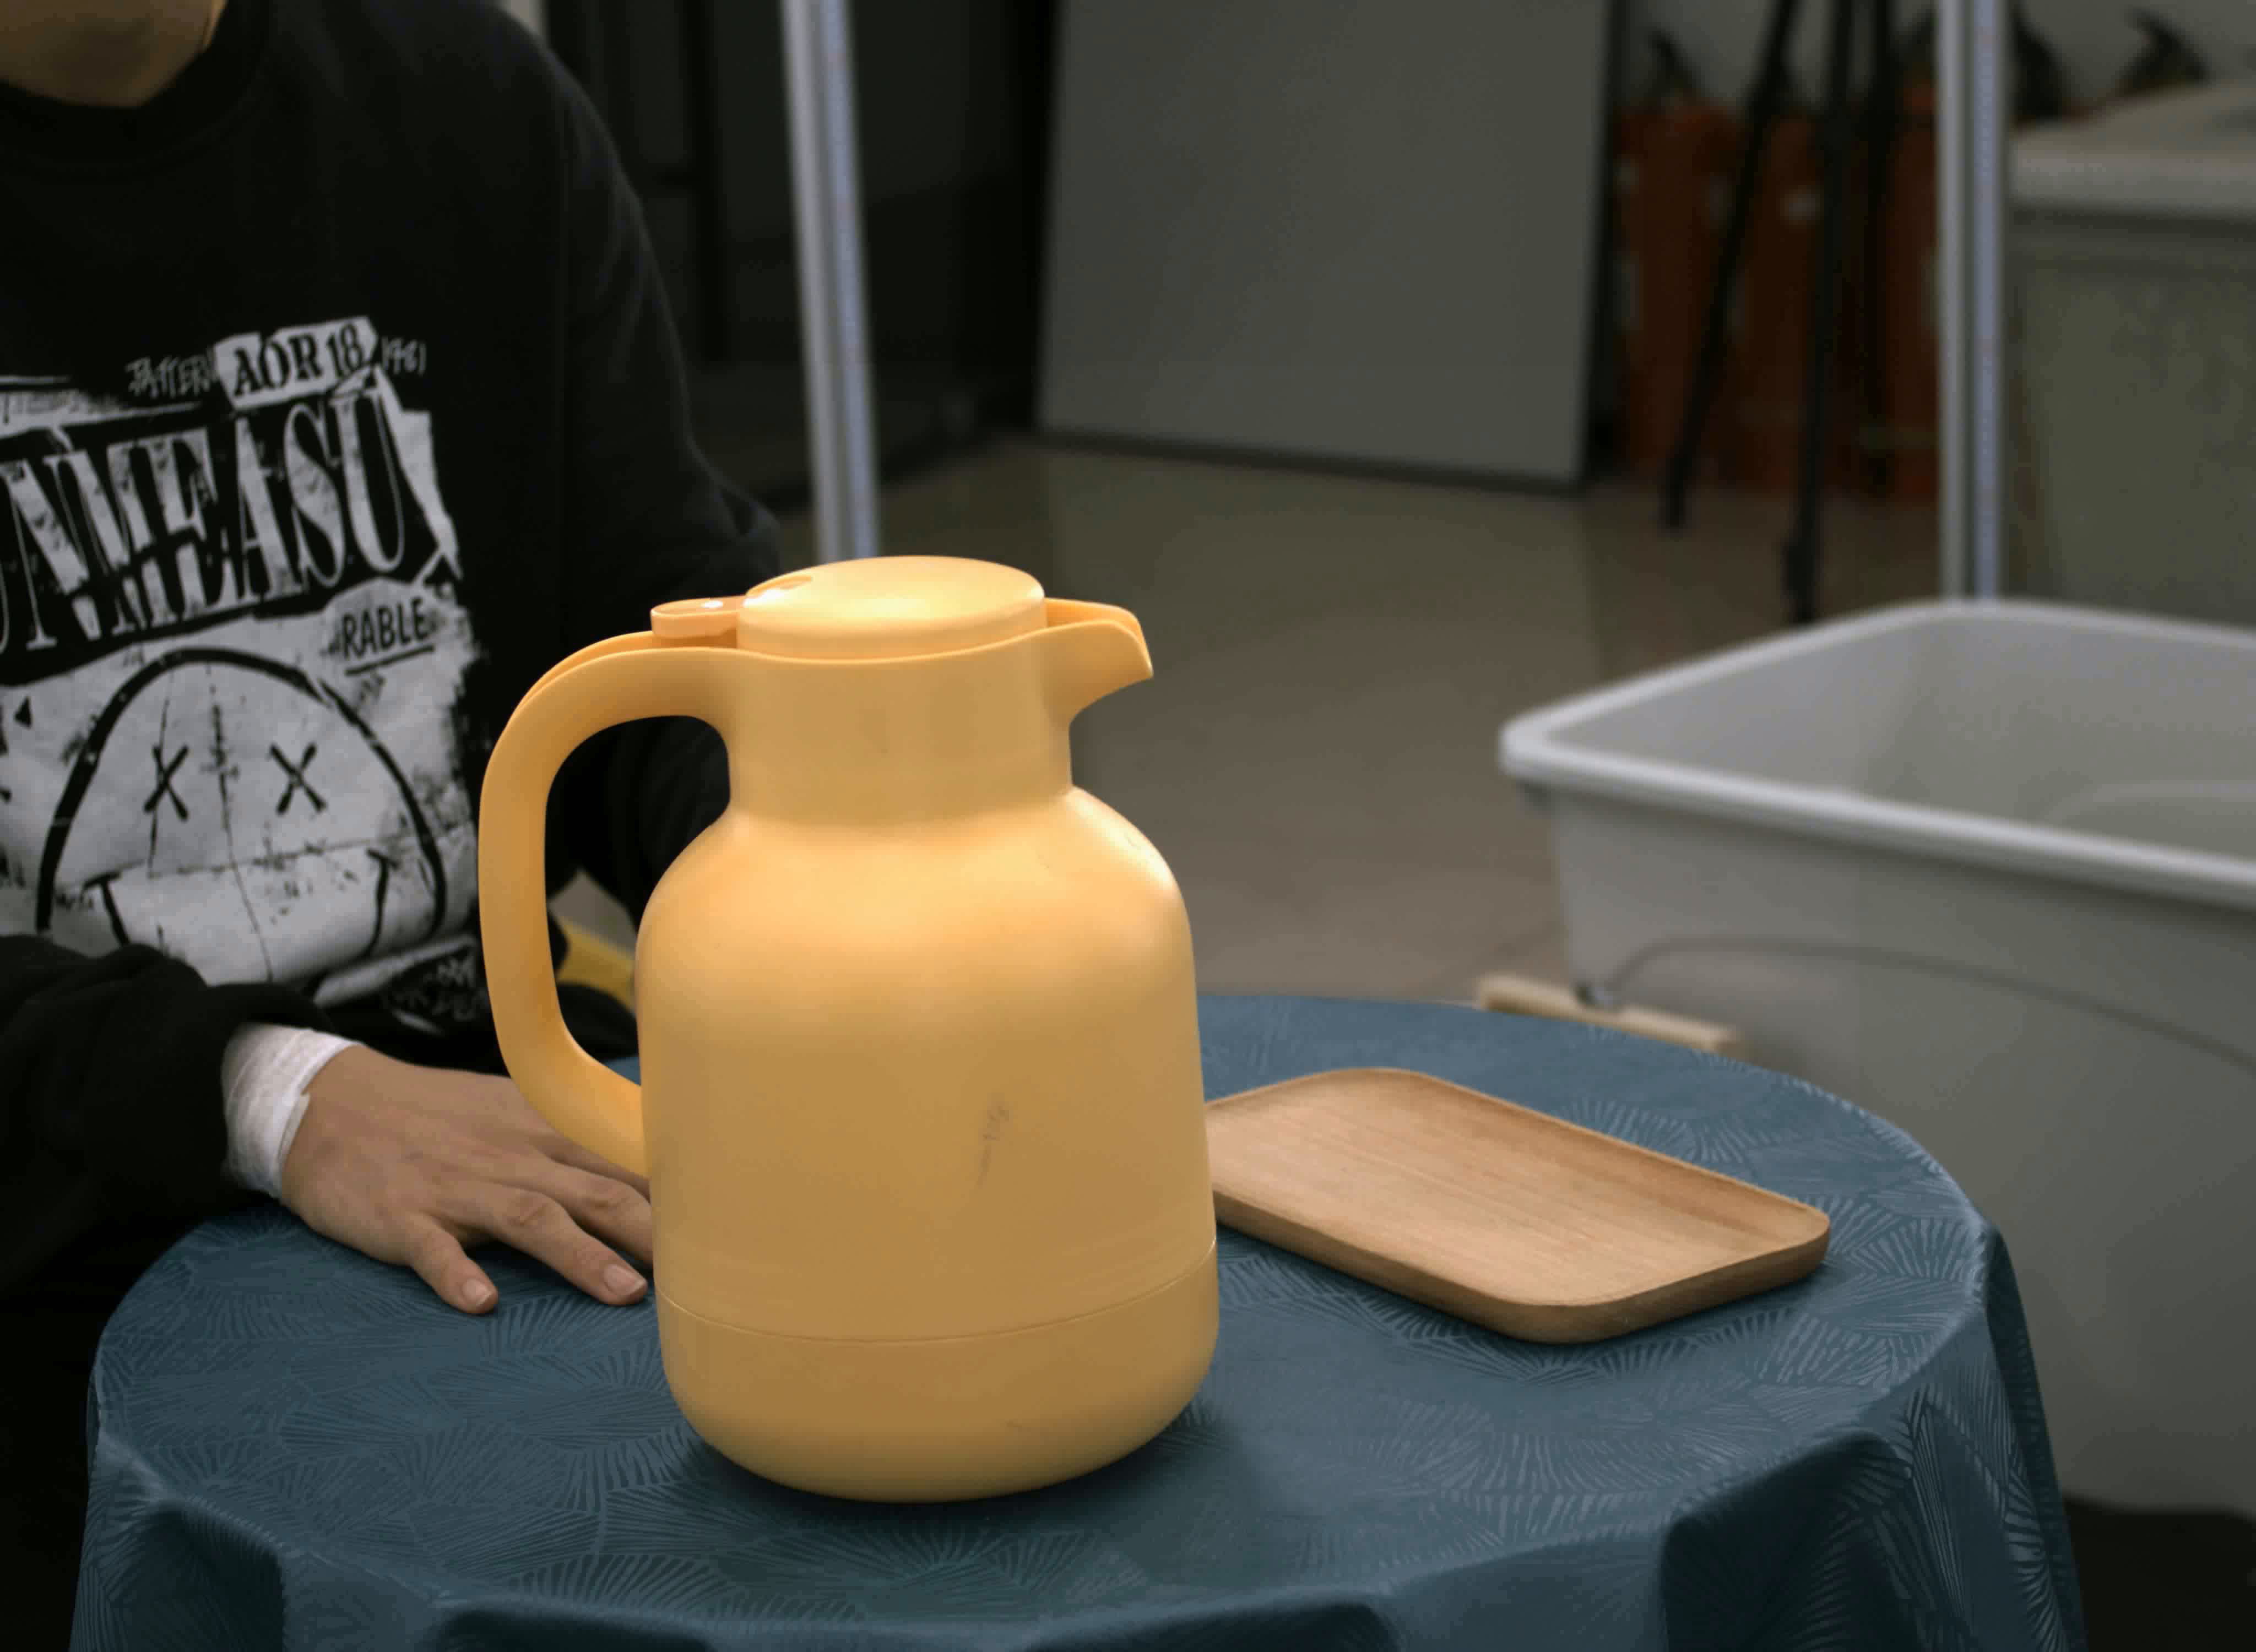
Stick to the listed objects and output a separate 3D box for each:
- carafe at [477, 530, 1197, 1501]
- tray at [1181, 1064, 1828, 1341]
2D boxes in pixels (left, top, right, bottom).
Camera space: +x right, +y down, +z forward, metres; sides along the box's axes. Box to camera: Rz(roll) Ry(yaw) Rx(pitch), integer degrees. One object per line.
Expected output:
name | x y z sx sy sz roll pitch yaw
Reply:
carafe | -0.082 0.049 1.534 0.200 0.263 0.163 -1 11 5
tray | 0.106 0.118 1.718 0.127 0.023 0.253 -10 14 -31
